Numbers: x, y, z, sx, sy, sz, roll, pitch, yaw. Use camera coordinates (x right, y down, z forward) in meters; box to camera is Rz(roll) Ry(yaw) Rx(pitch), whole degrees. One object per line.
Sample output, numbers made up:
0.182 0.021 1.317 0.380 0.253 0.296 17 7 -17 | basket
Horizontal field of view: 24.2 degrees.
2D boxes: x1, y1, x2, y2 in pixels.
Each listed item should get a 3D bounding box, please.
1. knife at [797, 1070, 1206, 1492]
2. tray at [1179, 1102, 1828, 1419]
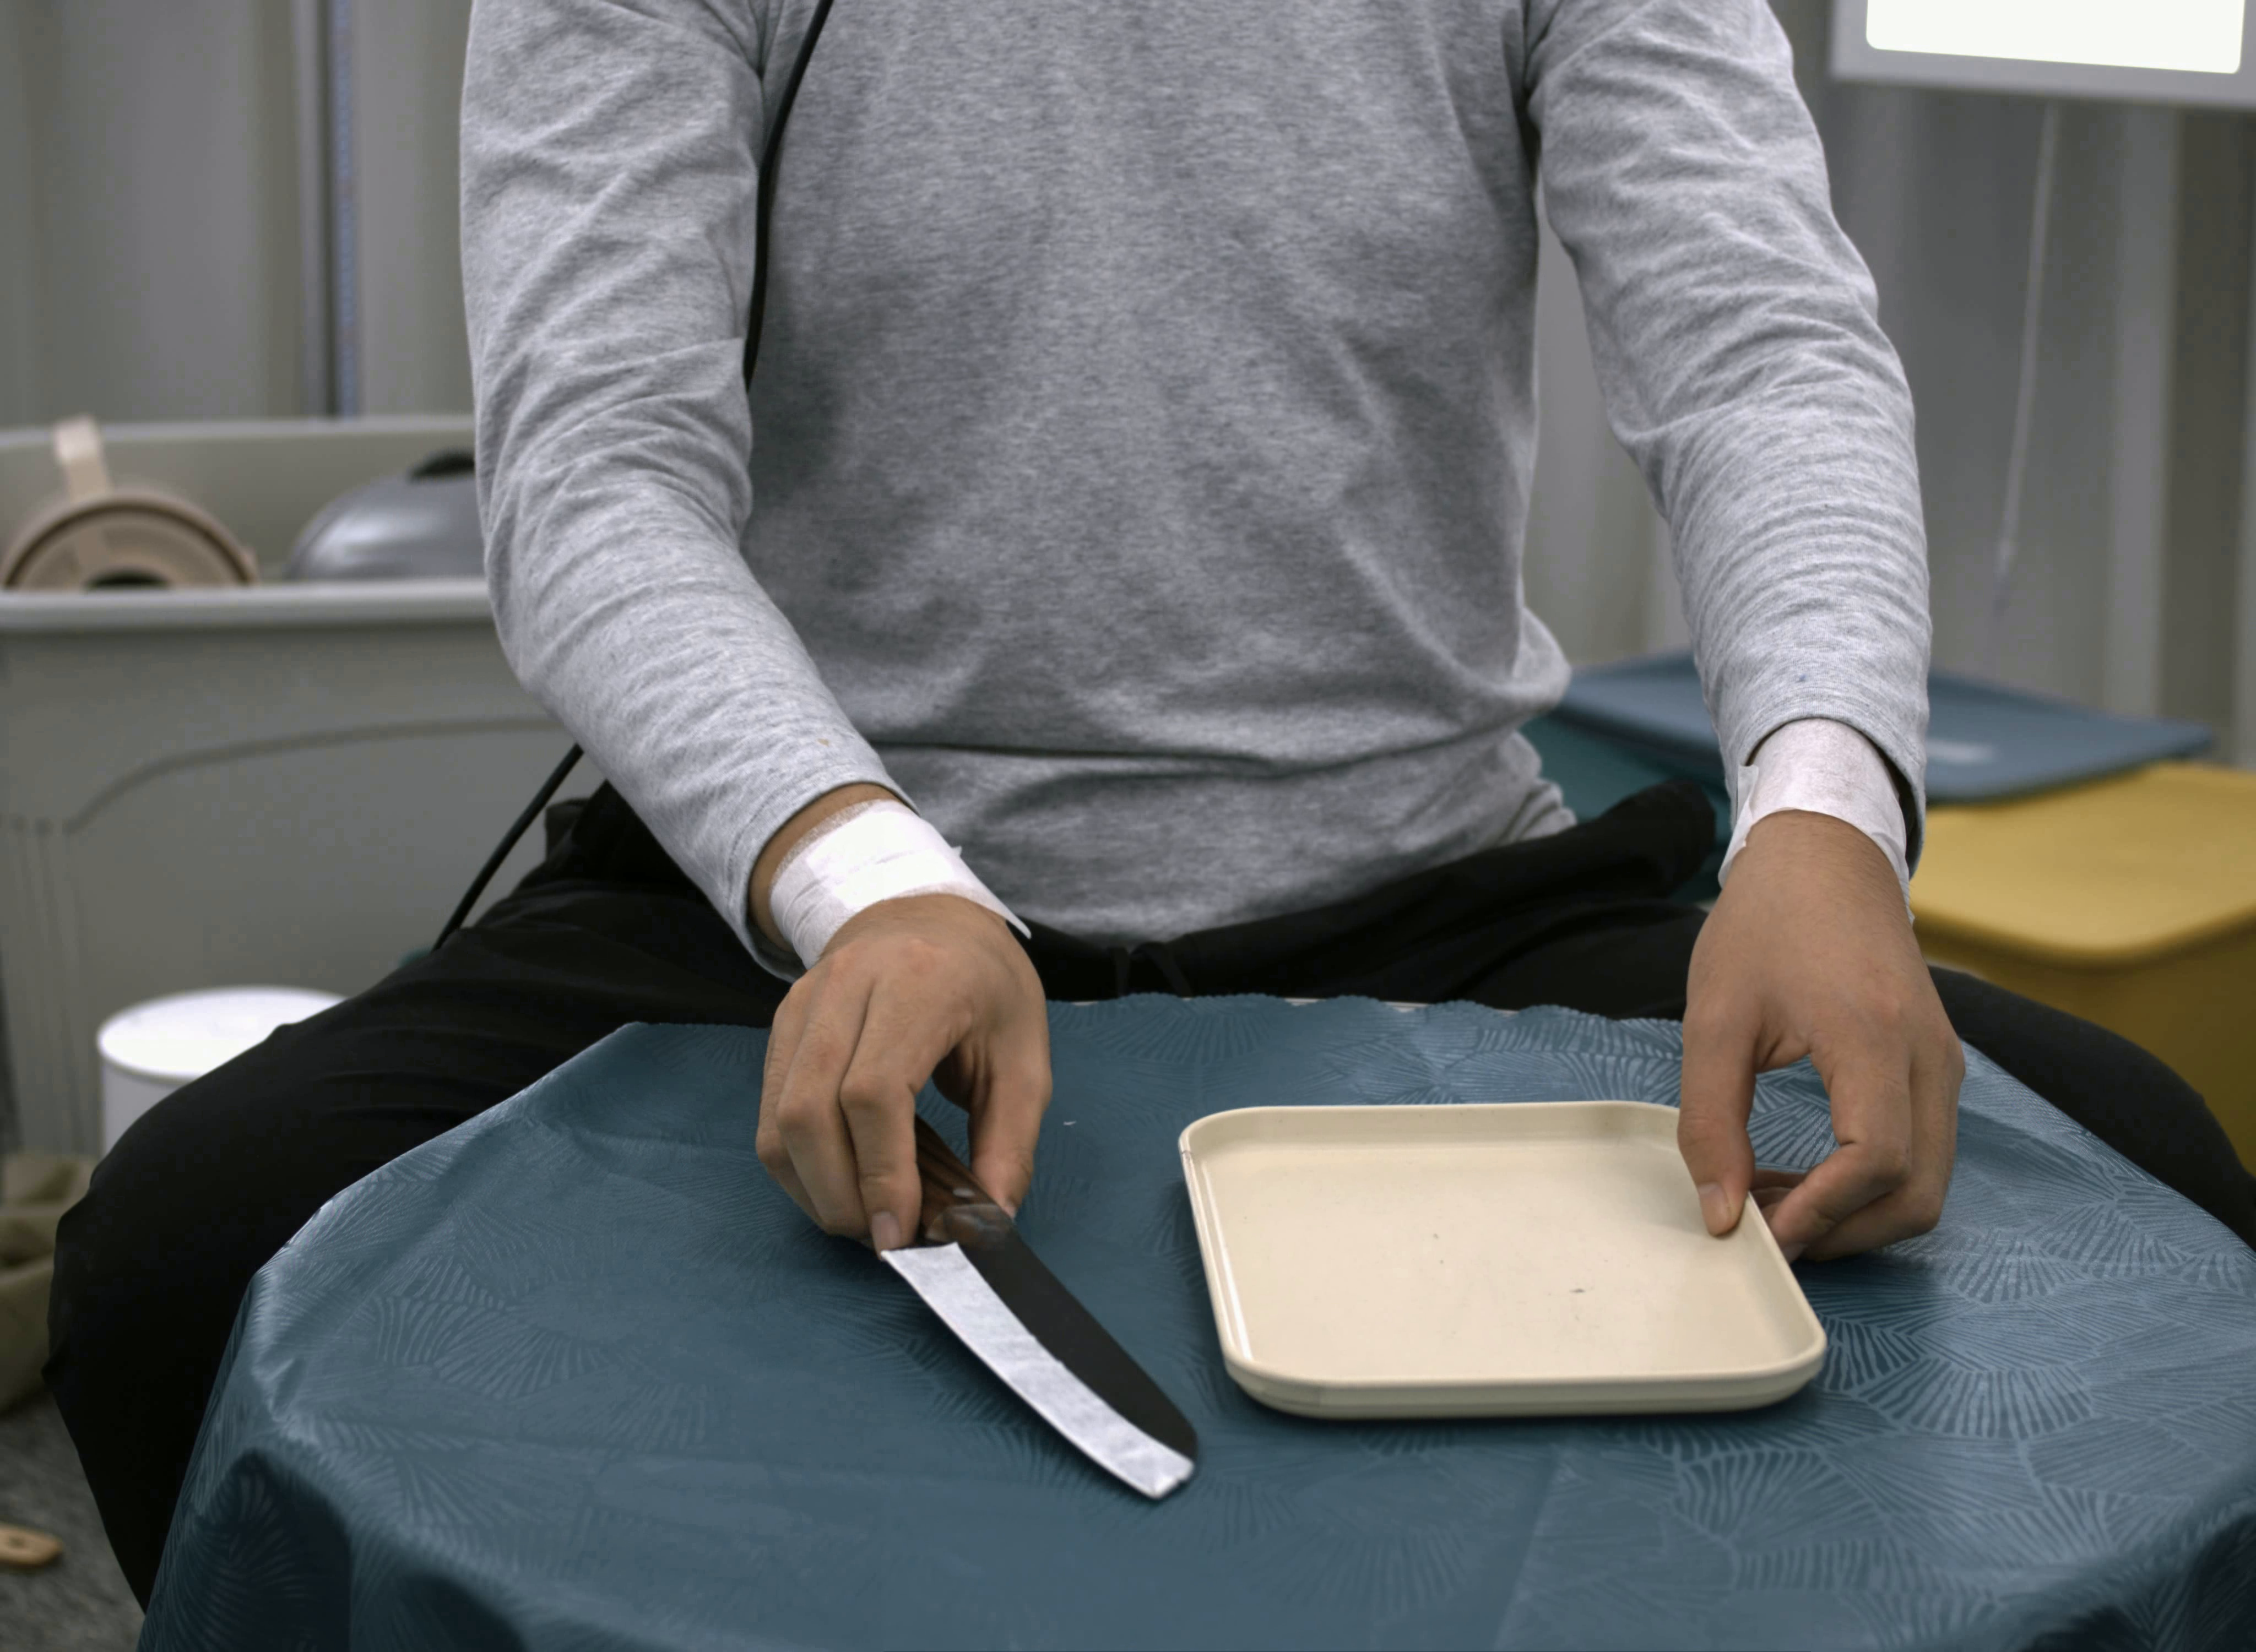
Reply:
-0.041 0.129 1.507 0.050 0.020 0.285 -4 20 -21 | knife
0.105 0.126 1.547 0.171 0.017 0.238 0 15 -3 | tray
